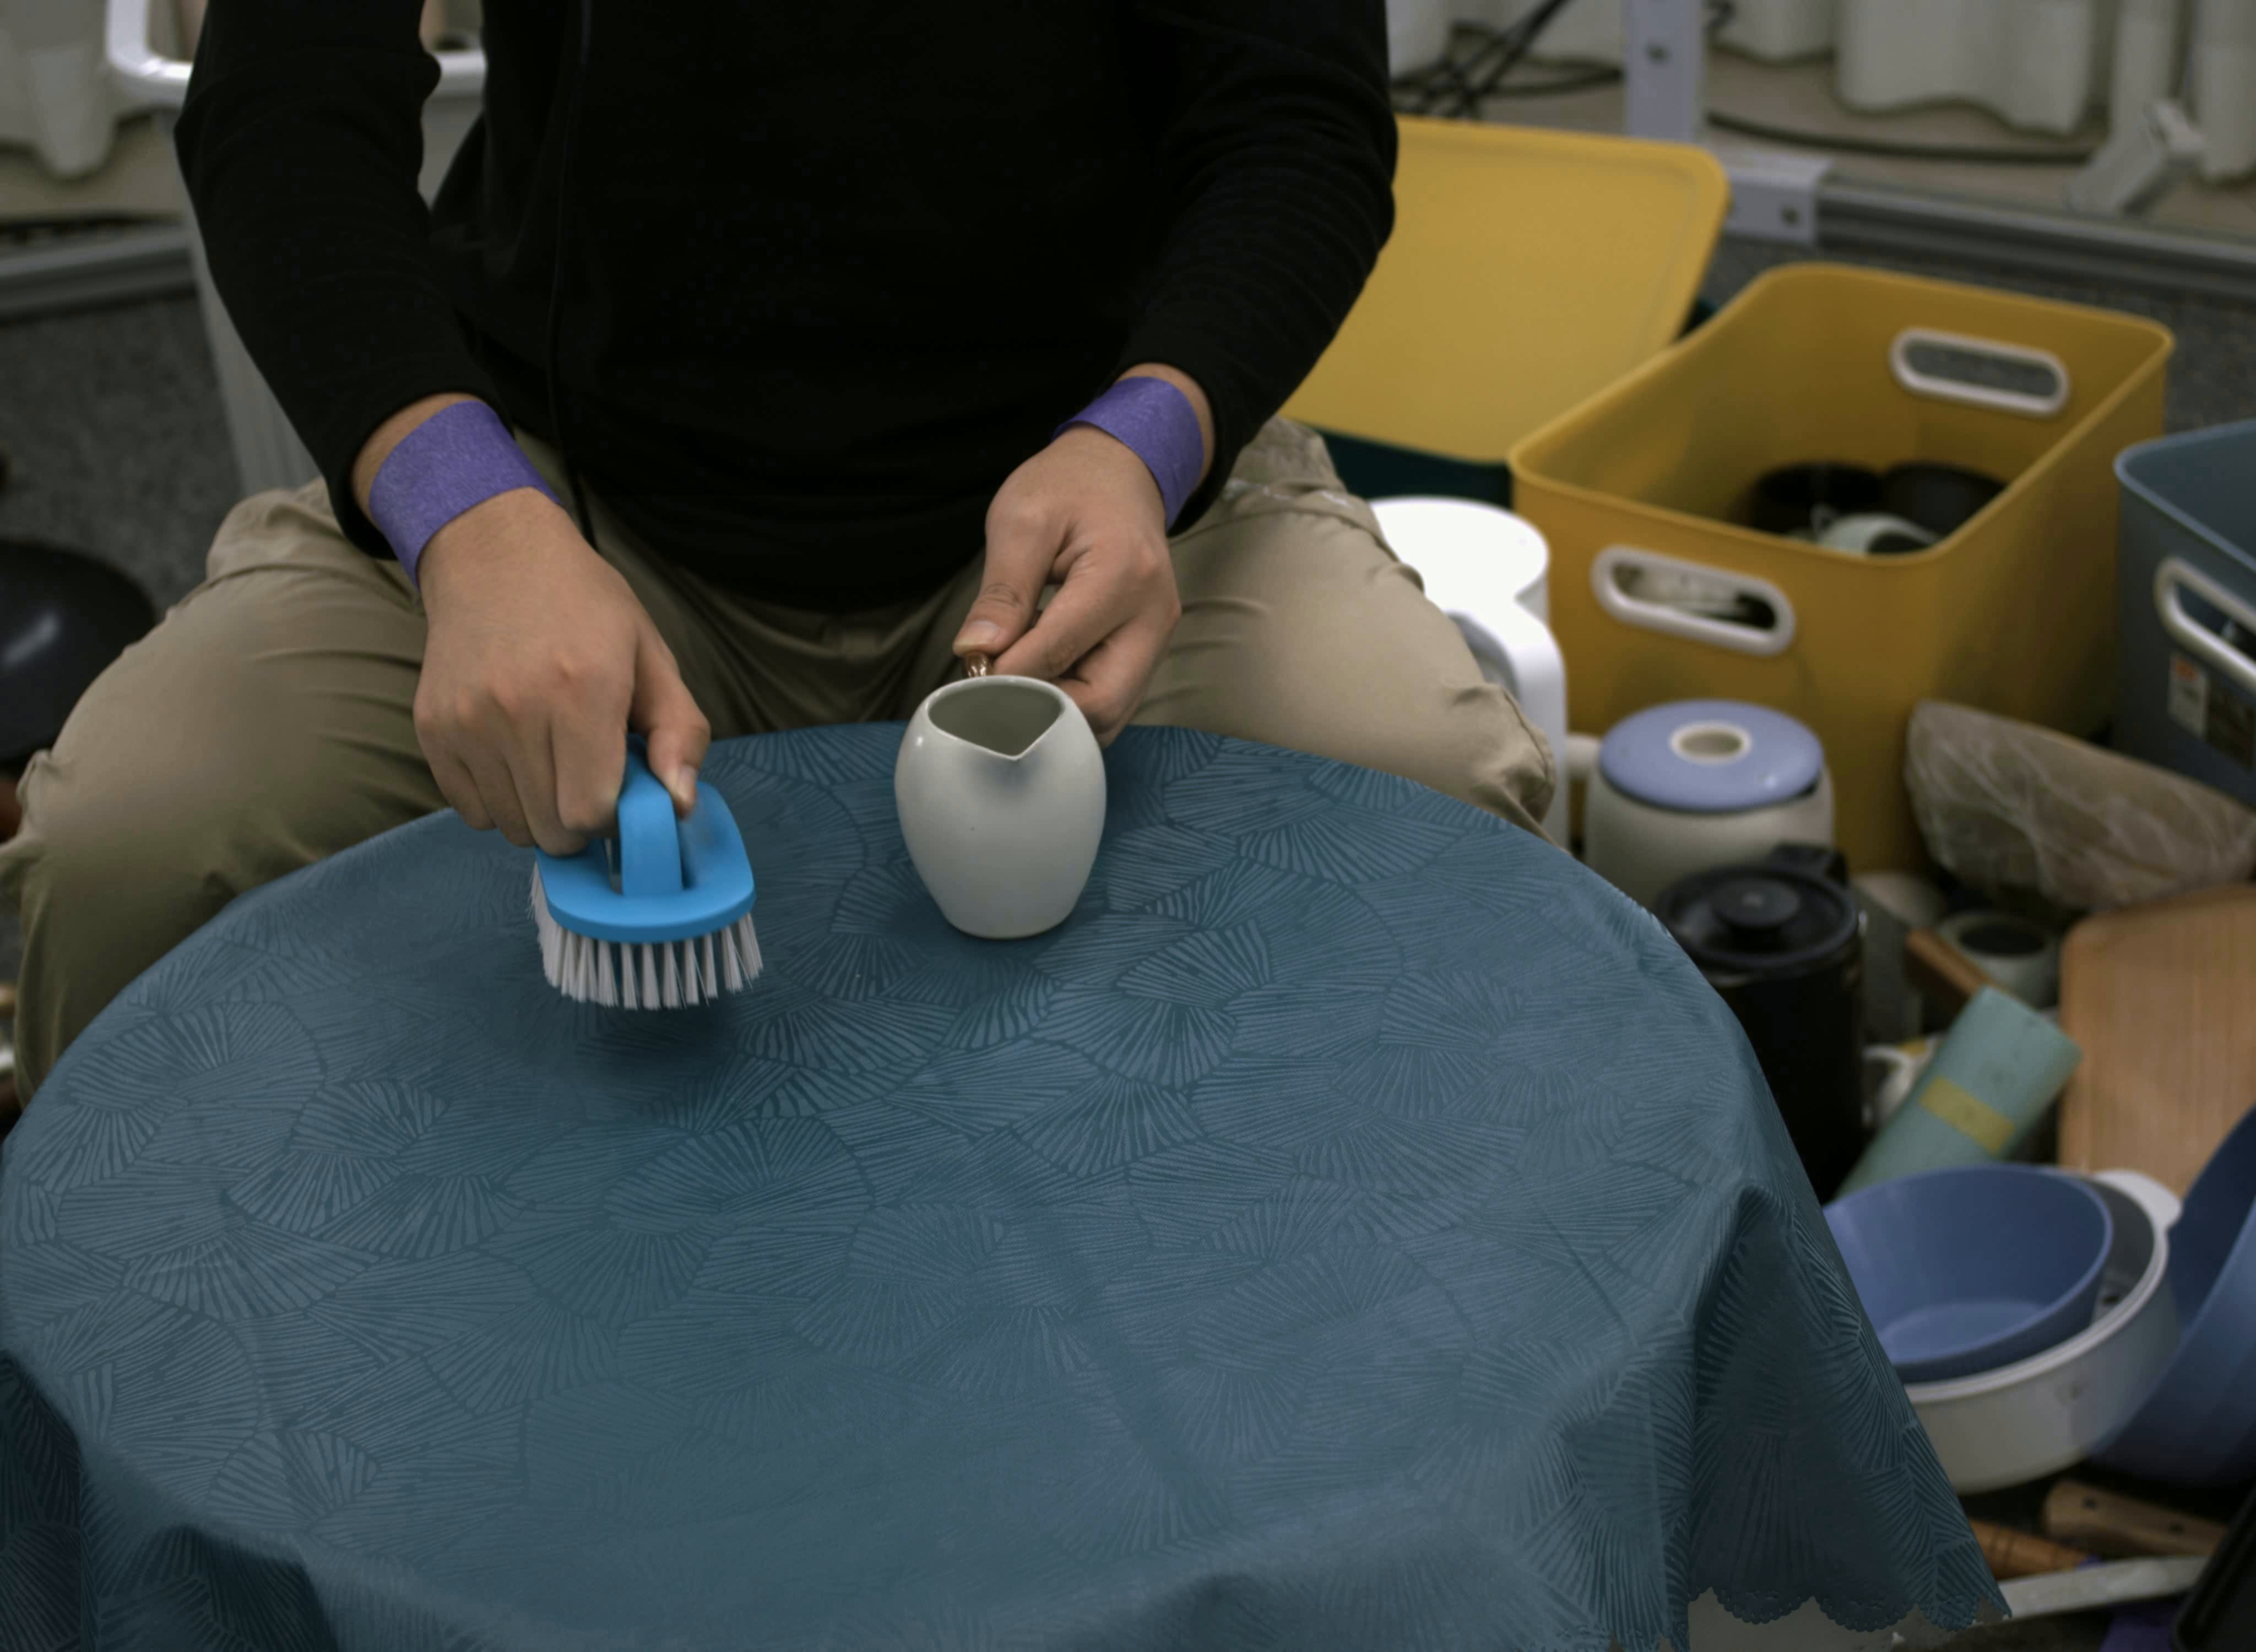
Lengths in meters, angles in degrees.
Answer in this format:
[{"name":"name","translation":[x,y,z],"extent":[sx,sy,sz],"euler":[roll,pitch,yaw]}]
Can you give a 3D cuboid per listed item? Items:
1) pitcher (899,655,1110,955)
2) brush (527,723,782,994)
[{"name":"pitcher","translation":[-0.045,-0.006,2.019],"extent":[0.075,0.087,0.121],"euler":[0,30,-6]},{"name":"brush","translation":[-0.169,0.004,1.971],"extent":[0.084,0.063,0.143],"euler":[-8,22,-6]}]
